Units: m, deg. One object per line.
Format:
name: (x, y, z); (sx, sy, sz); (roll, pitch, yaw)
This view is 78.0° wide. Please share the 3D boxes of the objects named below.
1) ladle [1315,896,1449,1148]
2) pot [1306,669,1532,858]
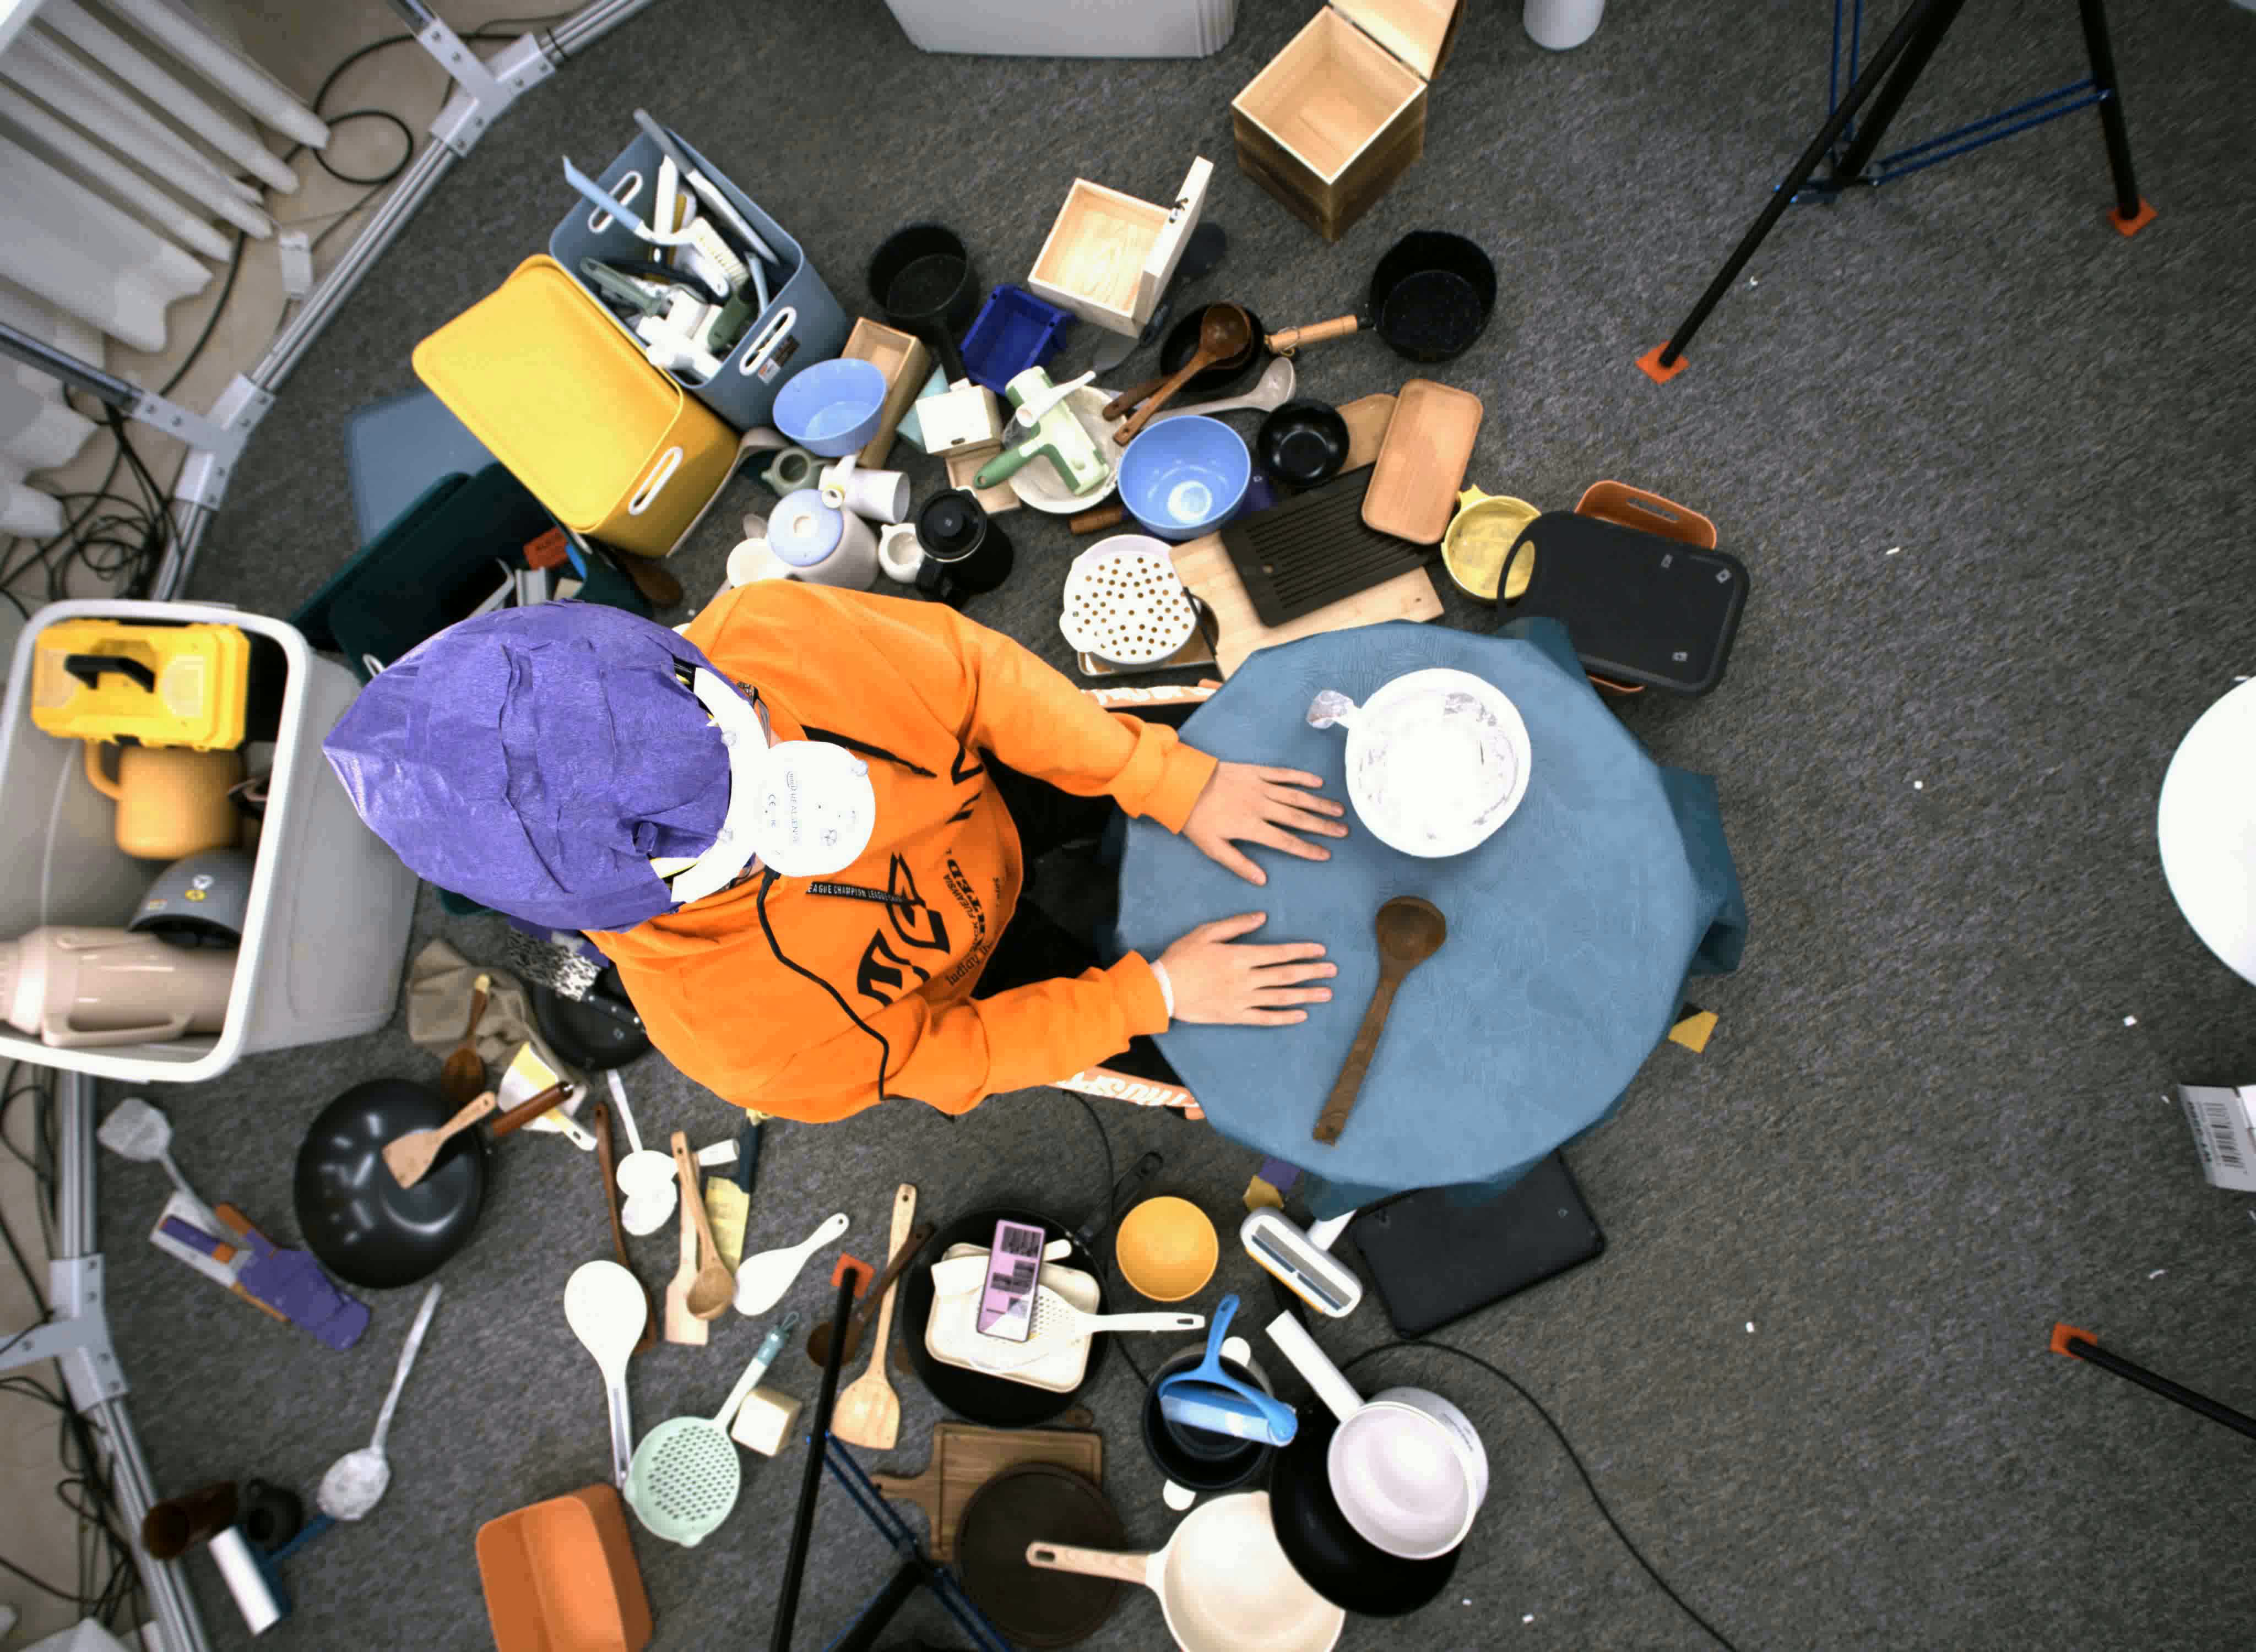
ladle: (0.252, 0.202, 1.421); (0.076, 0.071, 0.274); (23, 90, 14)
pot: (0.286, -0.073, 1.395); (0.233, 0.137, 0.179); (29, 91, 11)
